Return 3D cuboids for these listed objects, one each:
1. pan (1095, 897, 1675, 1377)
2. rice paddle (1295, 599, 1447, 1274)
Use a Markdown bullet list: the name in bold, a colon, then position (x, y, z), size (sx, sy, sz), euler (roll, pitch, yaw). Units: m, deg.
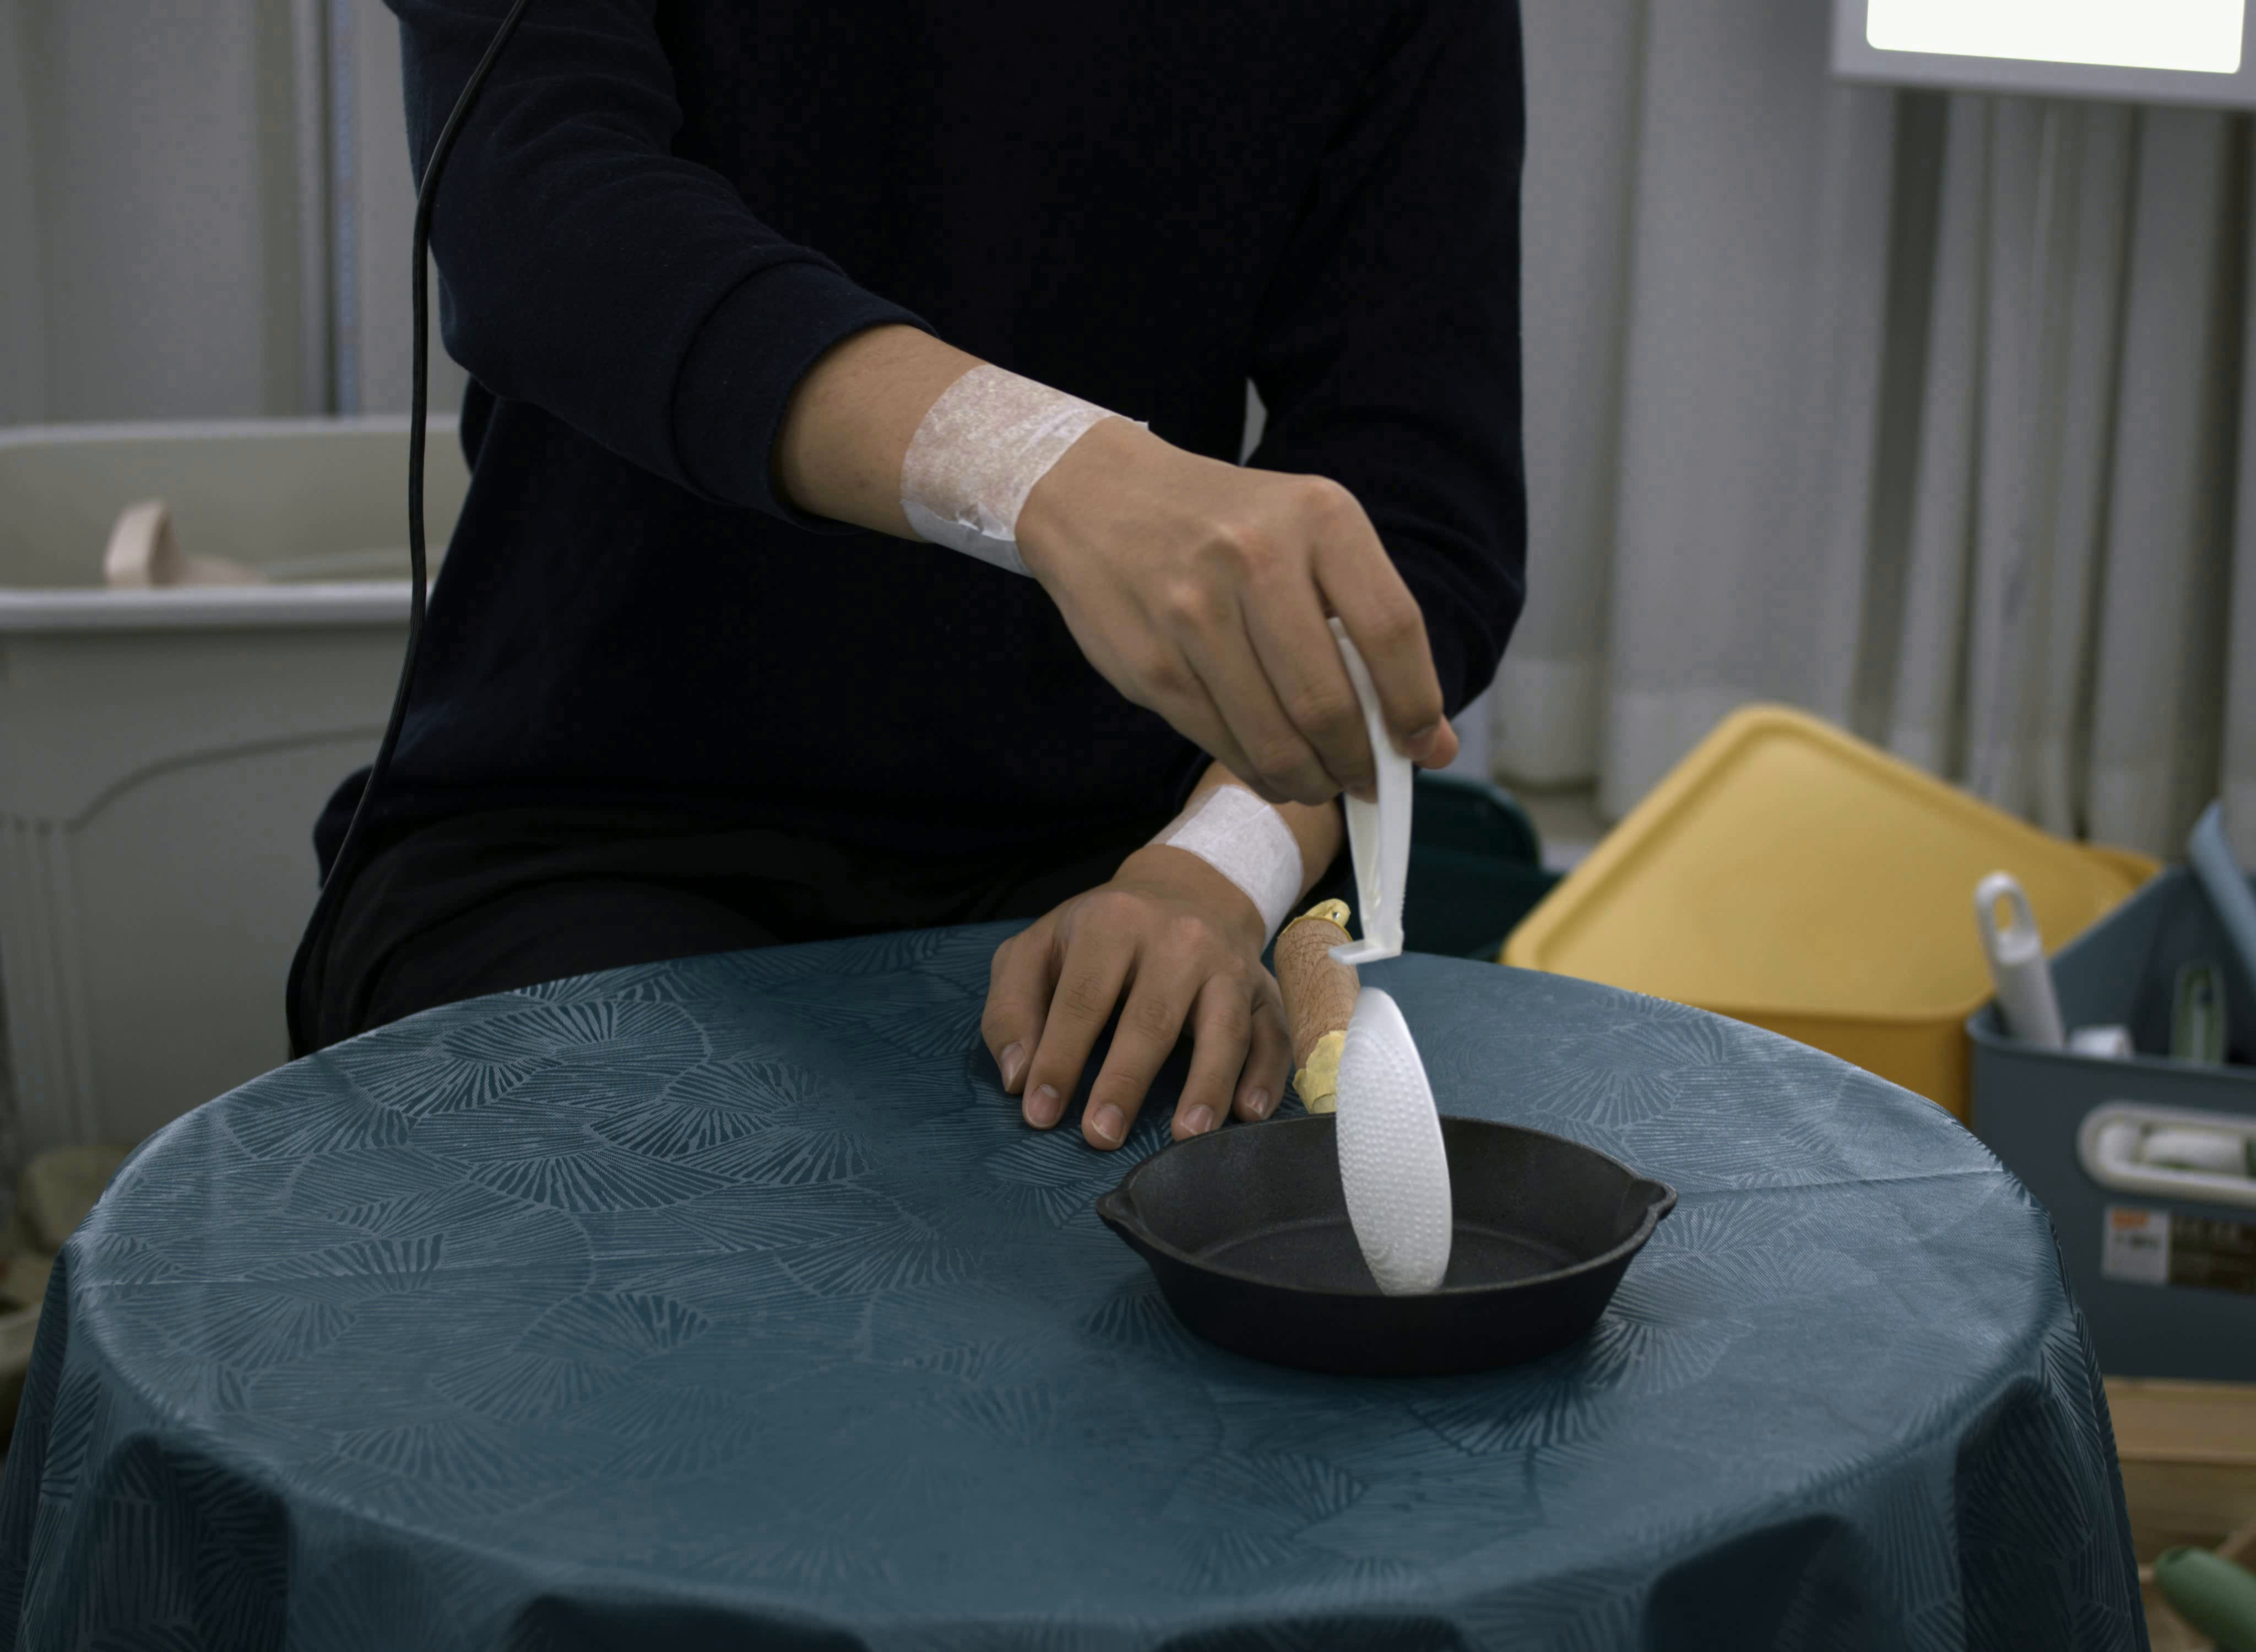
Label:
- **pan**: position (0.071, 0.091, 1.606), size (0.168, 0.050, 0.322), euler (0, 17, -2)
- **rice paddle**: position (0.072, 0.038, 1.491), size (0.029, 0.207, 0.068), euler (-11, 16, -18)
